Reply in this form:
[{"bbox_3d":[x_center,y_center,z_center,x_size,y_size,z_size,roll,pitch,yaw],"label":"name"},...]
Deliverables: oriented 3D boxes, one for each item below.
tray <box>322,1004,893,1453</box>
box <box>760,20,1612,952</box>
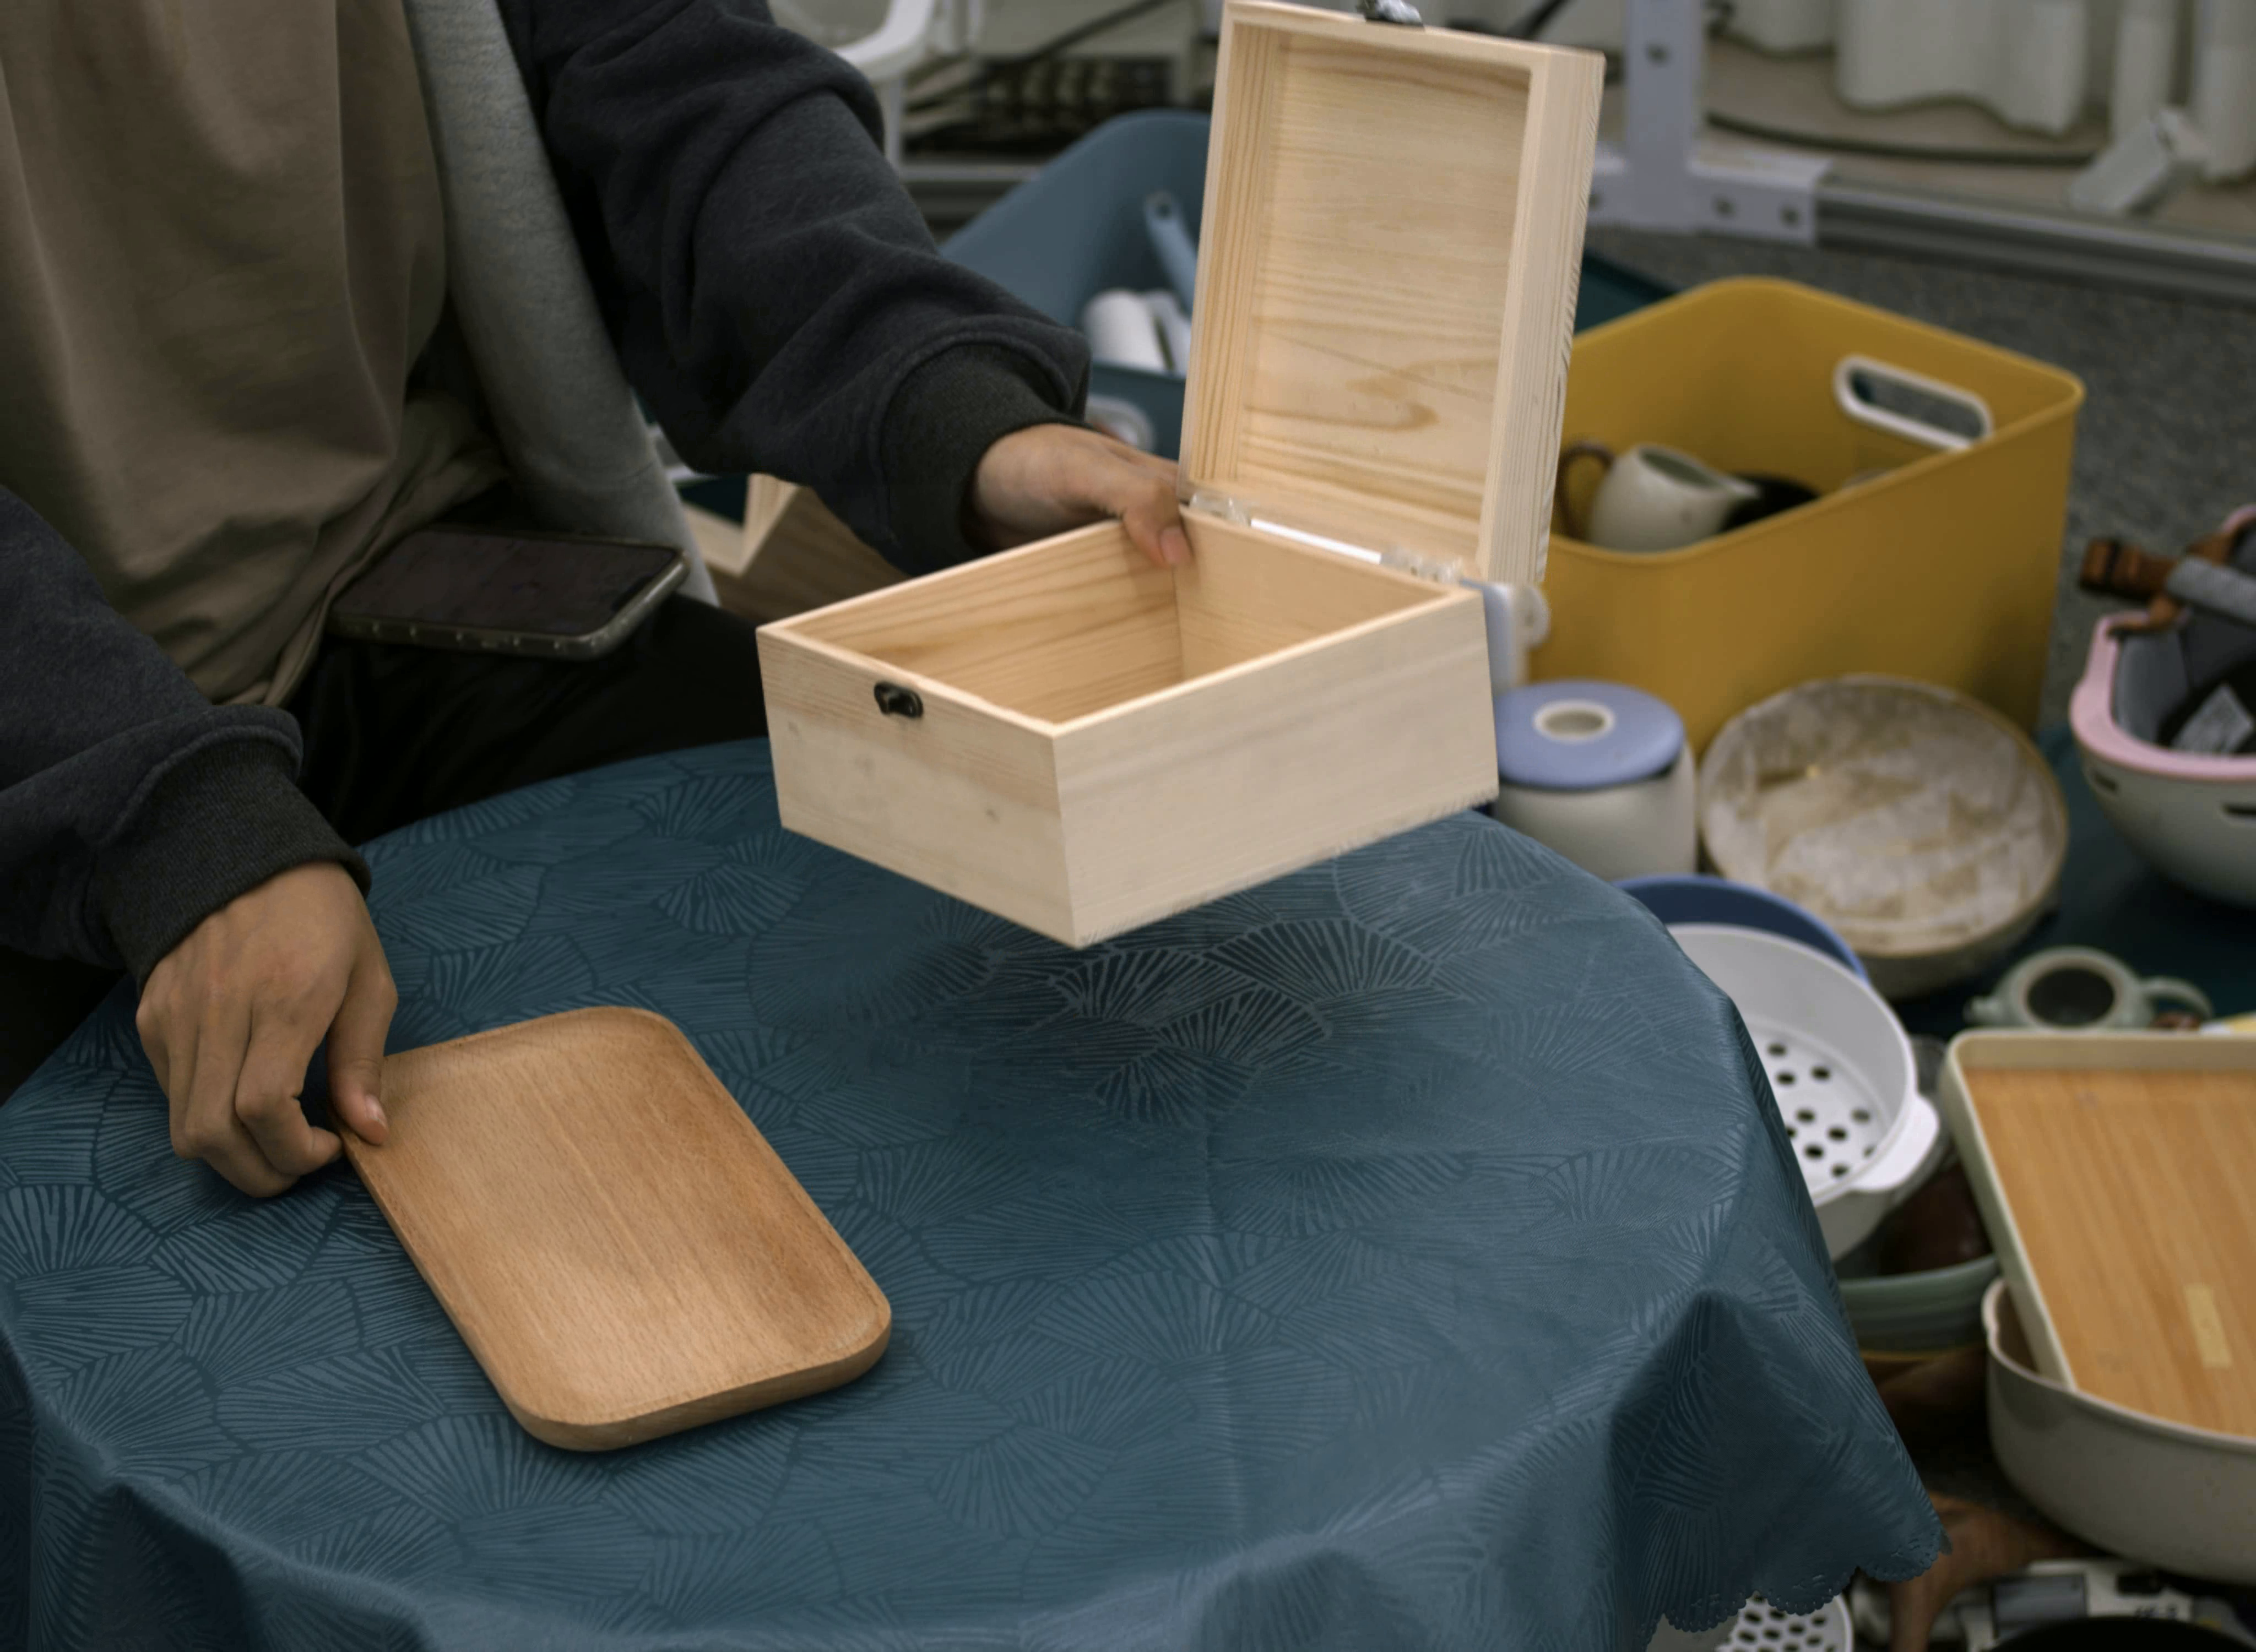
[{"bbox_3d":[-0.174,0.129,1.844,0.131,0.022,0.252,-11,28,-21],"label":"tray"},{"bbox_3d":[0.018,-0.126,1.931,0.267,0.252,0.181,-17,19,-34],"label":"box"}]
